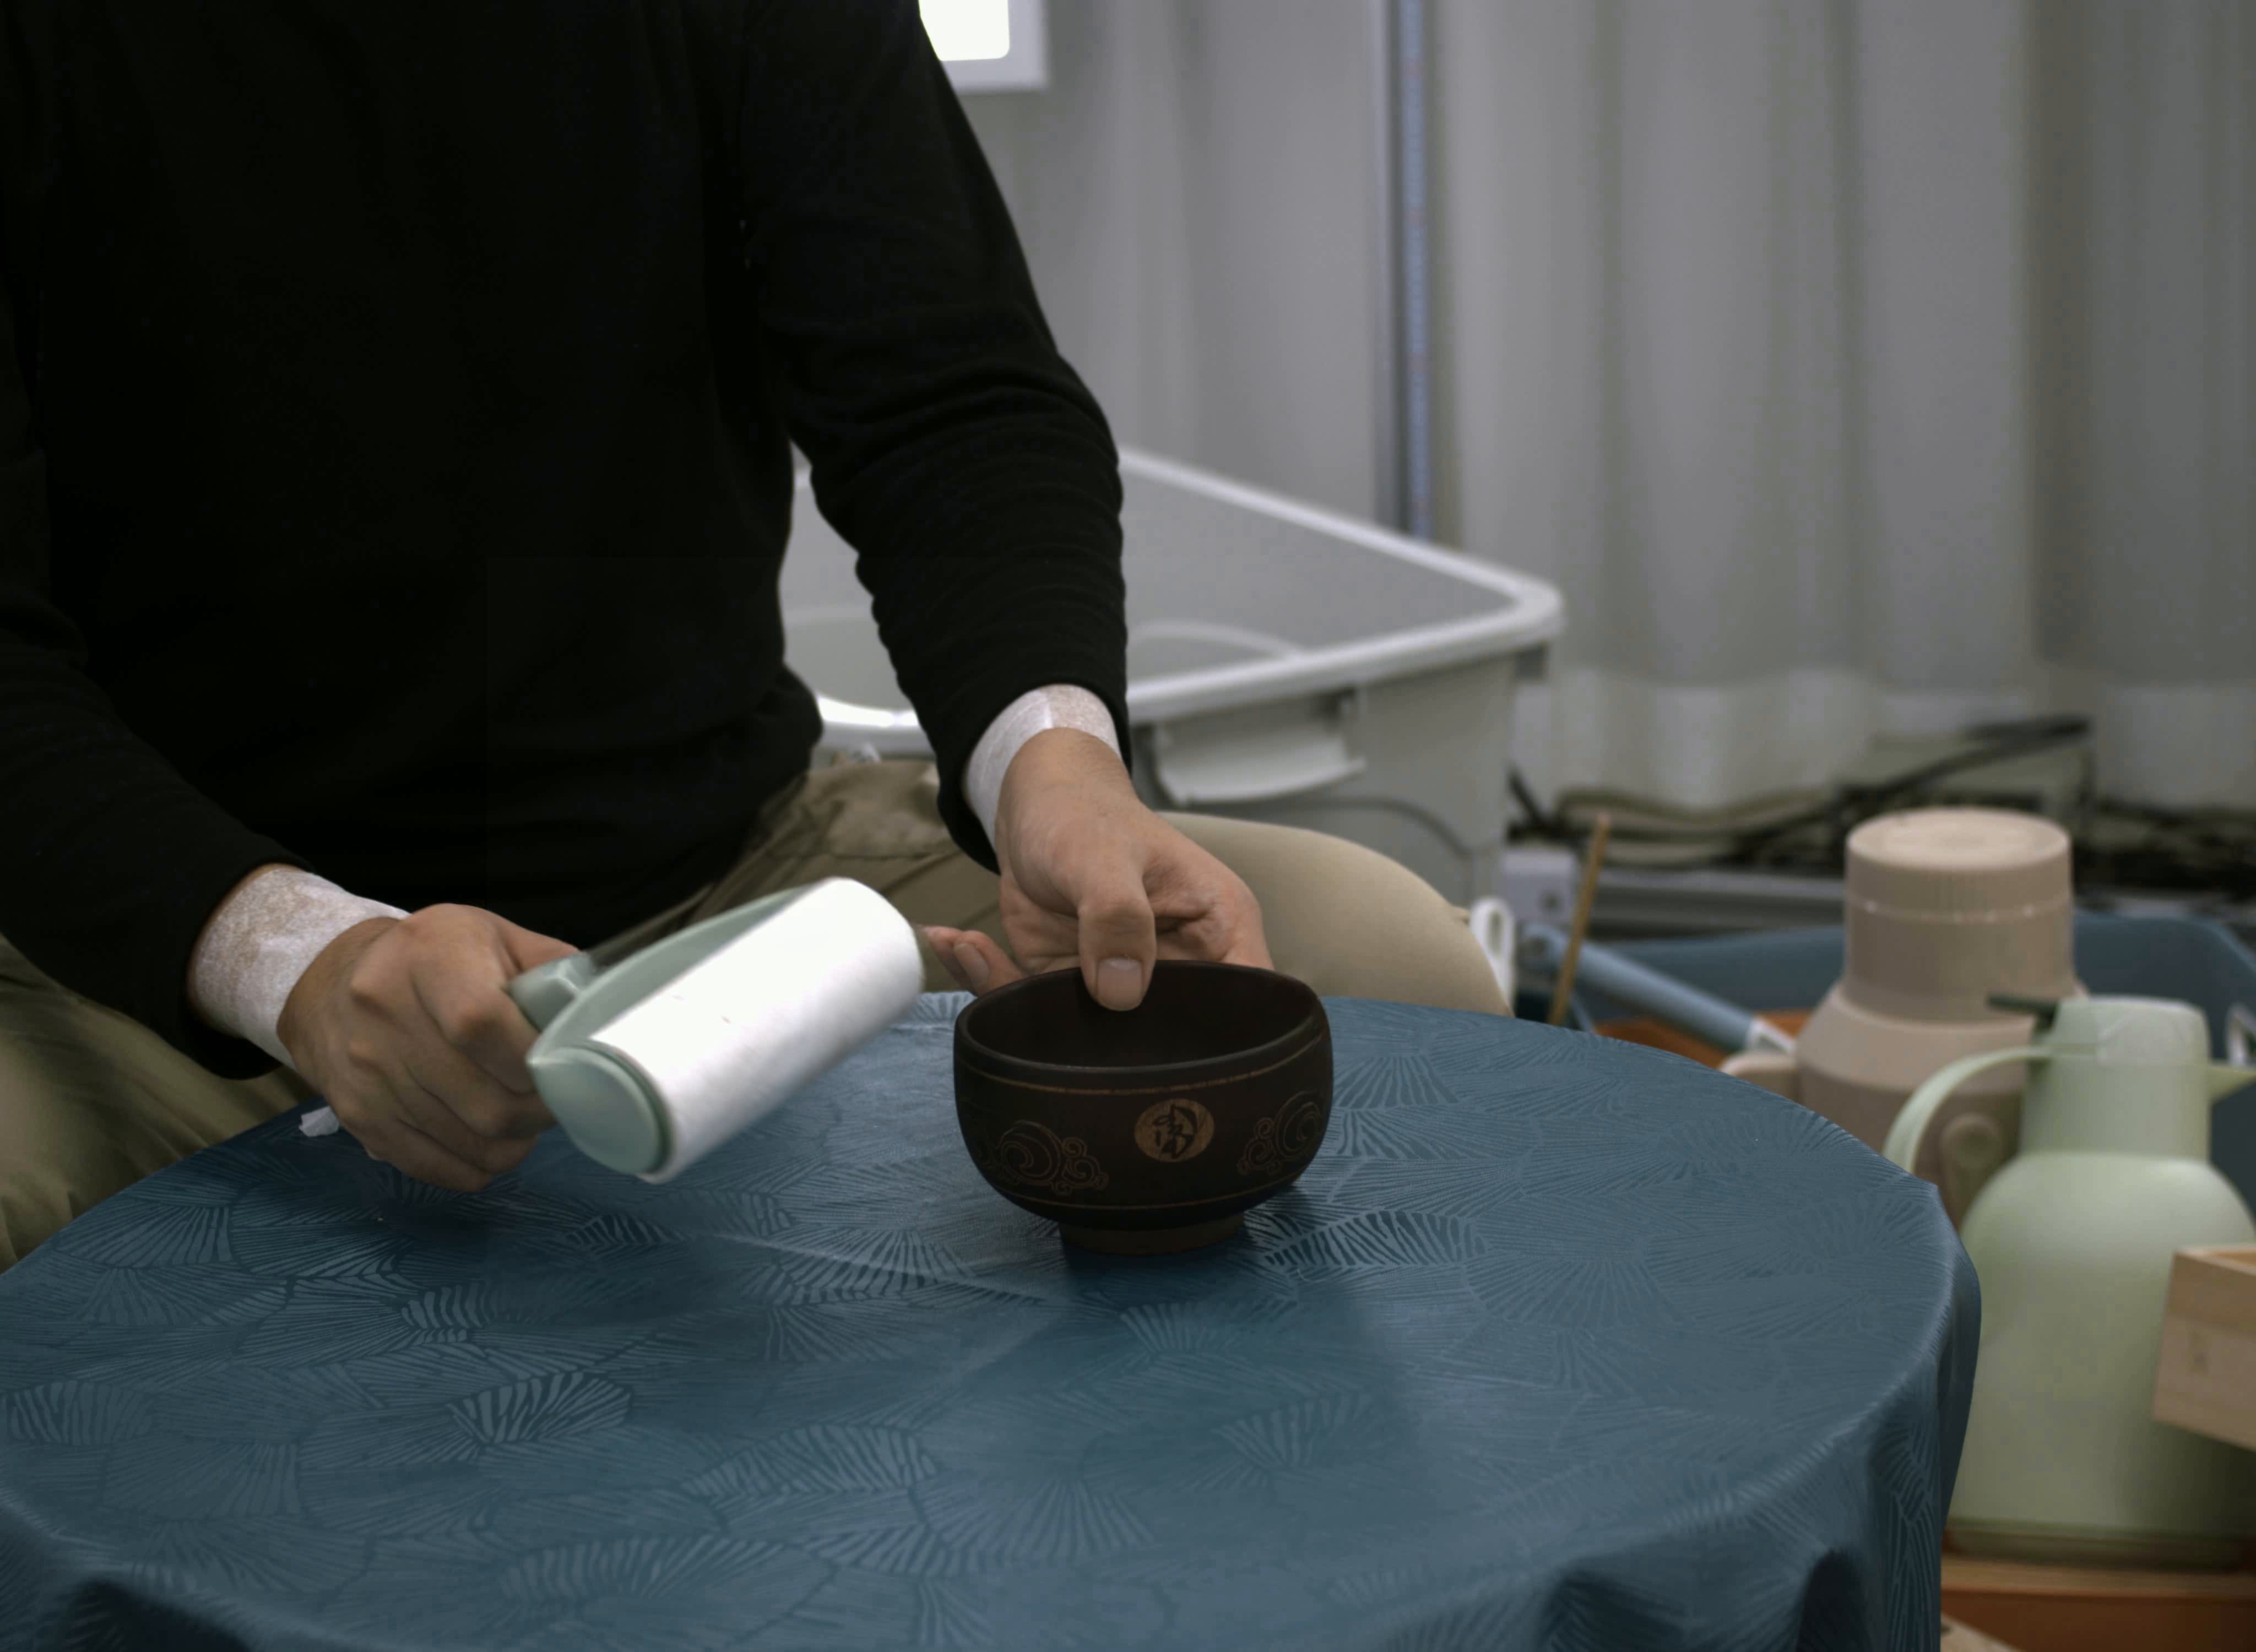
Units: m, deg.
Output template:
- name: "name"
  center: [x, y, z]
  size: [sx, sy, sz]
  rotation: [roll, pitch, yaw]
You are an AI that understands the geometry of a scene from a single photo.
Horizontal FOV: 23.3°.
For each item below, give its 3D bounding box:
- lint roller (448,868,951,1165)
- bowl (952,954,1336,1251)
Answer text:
- name: "lint roller"
  center: [-0.149, 0.059, 1.654]
  size: [0.117, 0.048, 0.198]
  rotation: [-35, 19, -36]
- name: "bowl"
  center: [0.006, 0.088, 1.673]
  size: [0.117, 0.069, 0.119]
  rotation: [-4, 14, 1]
